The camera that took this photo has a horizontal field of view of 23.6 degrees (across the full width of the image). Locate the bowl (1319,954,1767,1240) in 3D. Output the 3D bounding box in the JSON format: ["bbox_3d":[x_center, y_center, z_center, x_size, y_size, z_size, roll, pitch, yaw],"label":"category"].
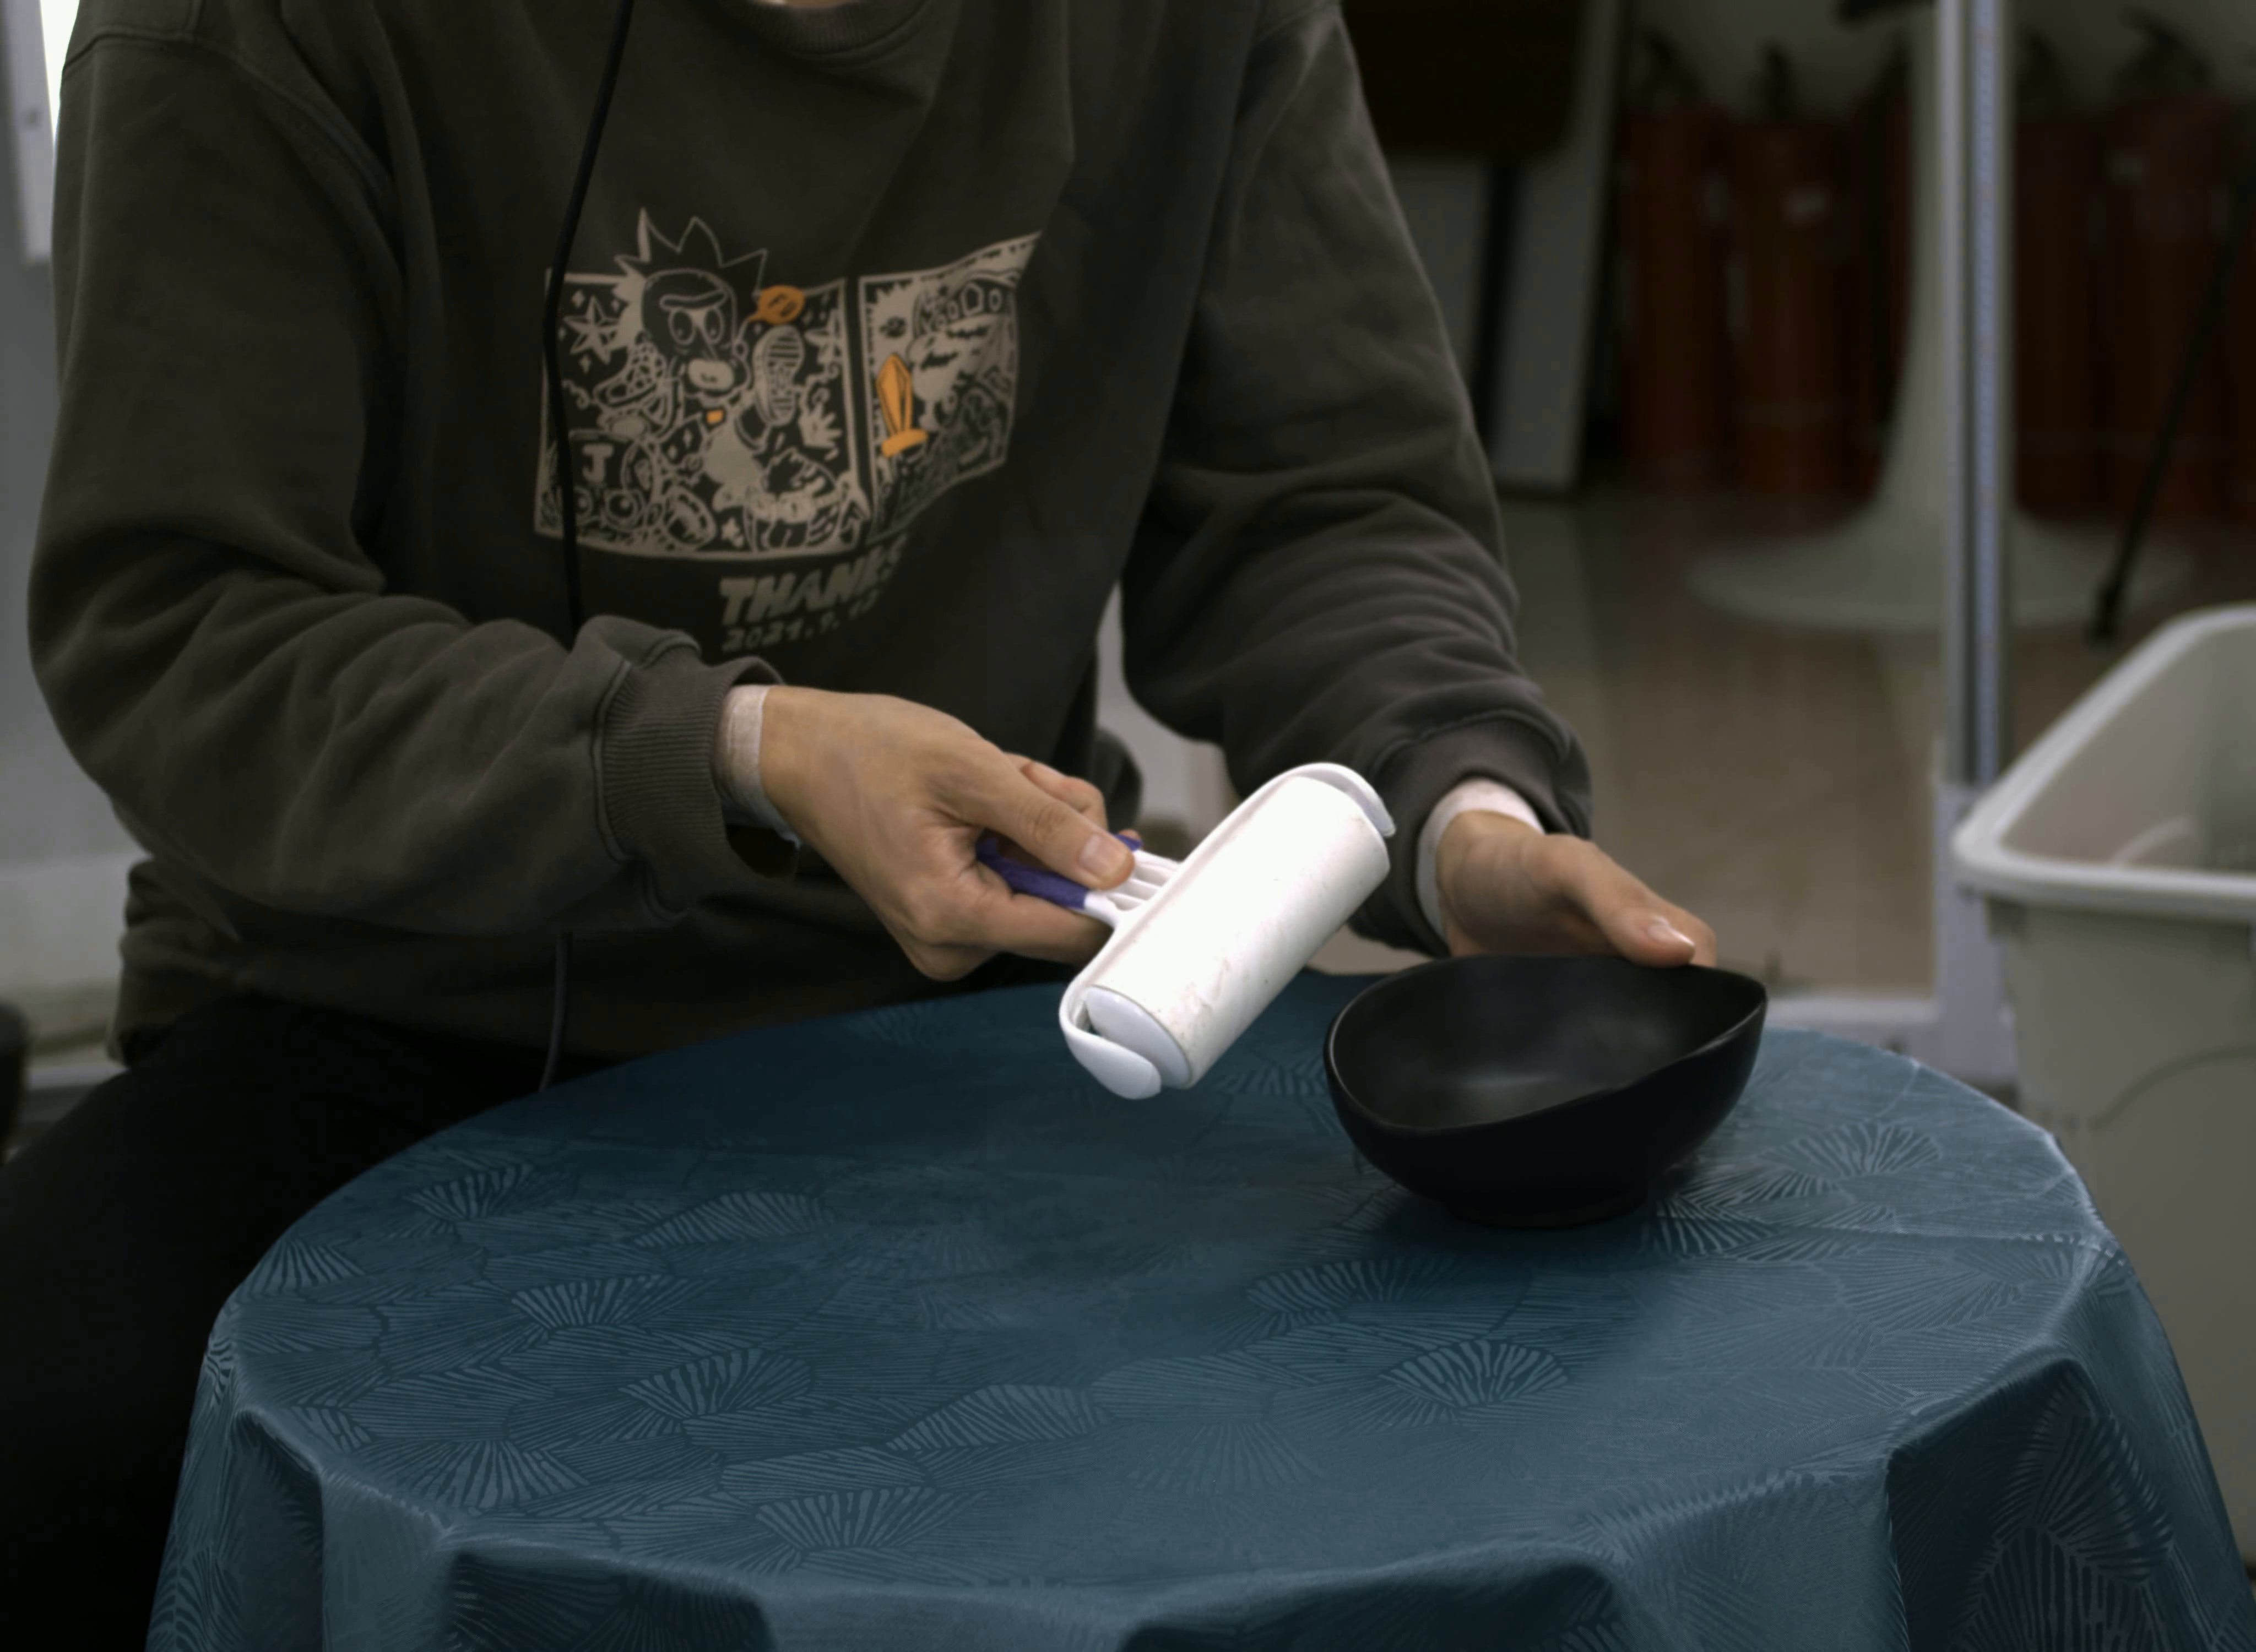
[{"bbox_3d":[0.135,0.091,1.728,0.138,0.067,0.167,3,17,32],"label":"bowl"}]

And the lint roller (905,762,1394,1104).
[{"bbox_3d":[-0.010,0.010,1.751,0.182,0.050,0.132,29,64,38],"label":"lint roller"}]
